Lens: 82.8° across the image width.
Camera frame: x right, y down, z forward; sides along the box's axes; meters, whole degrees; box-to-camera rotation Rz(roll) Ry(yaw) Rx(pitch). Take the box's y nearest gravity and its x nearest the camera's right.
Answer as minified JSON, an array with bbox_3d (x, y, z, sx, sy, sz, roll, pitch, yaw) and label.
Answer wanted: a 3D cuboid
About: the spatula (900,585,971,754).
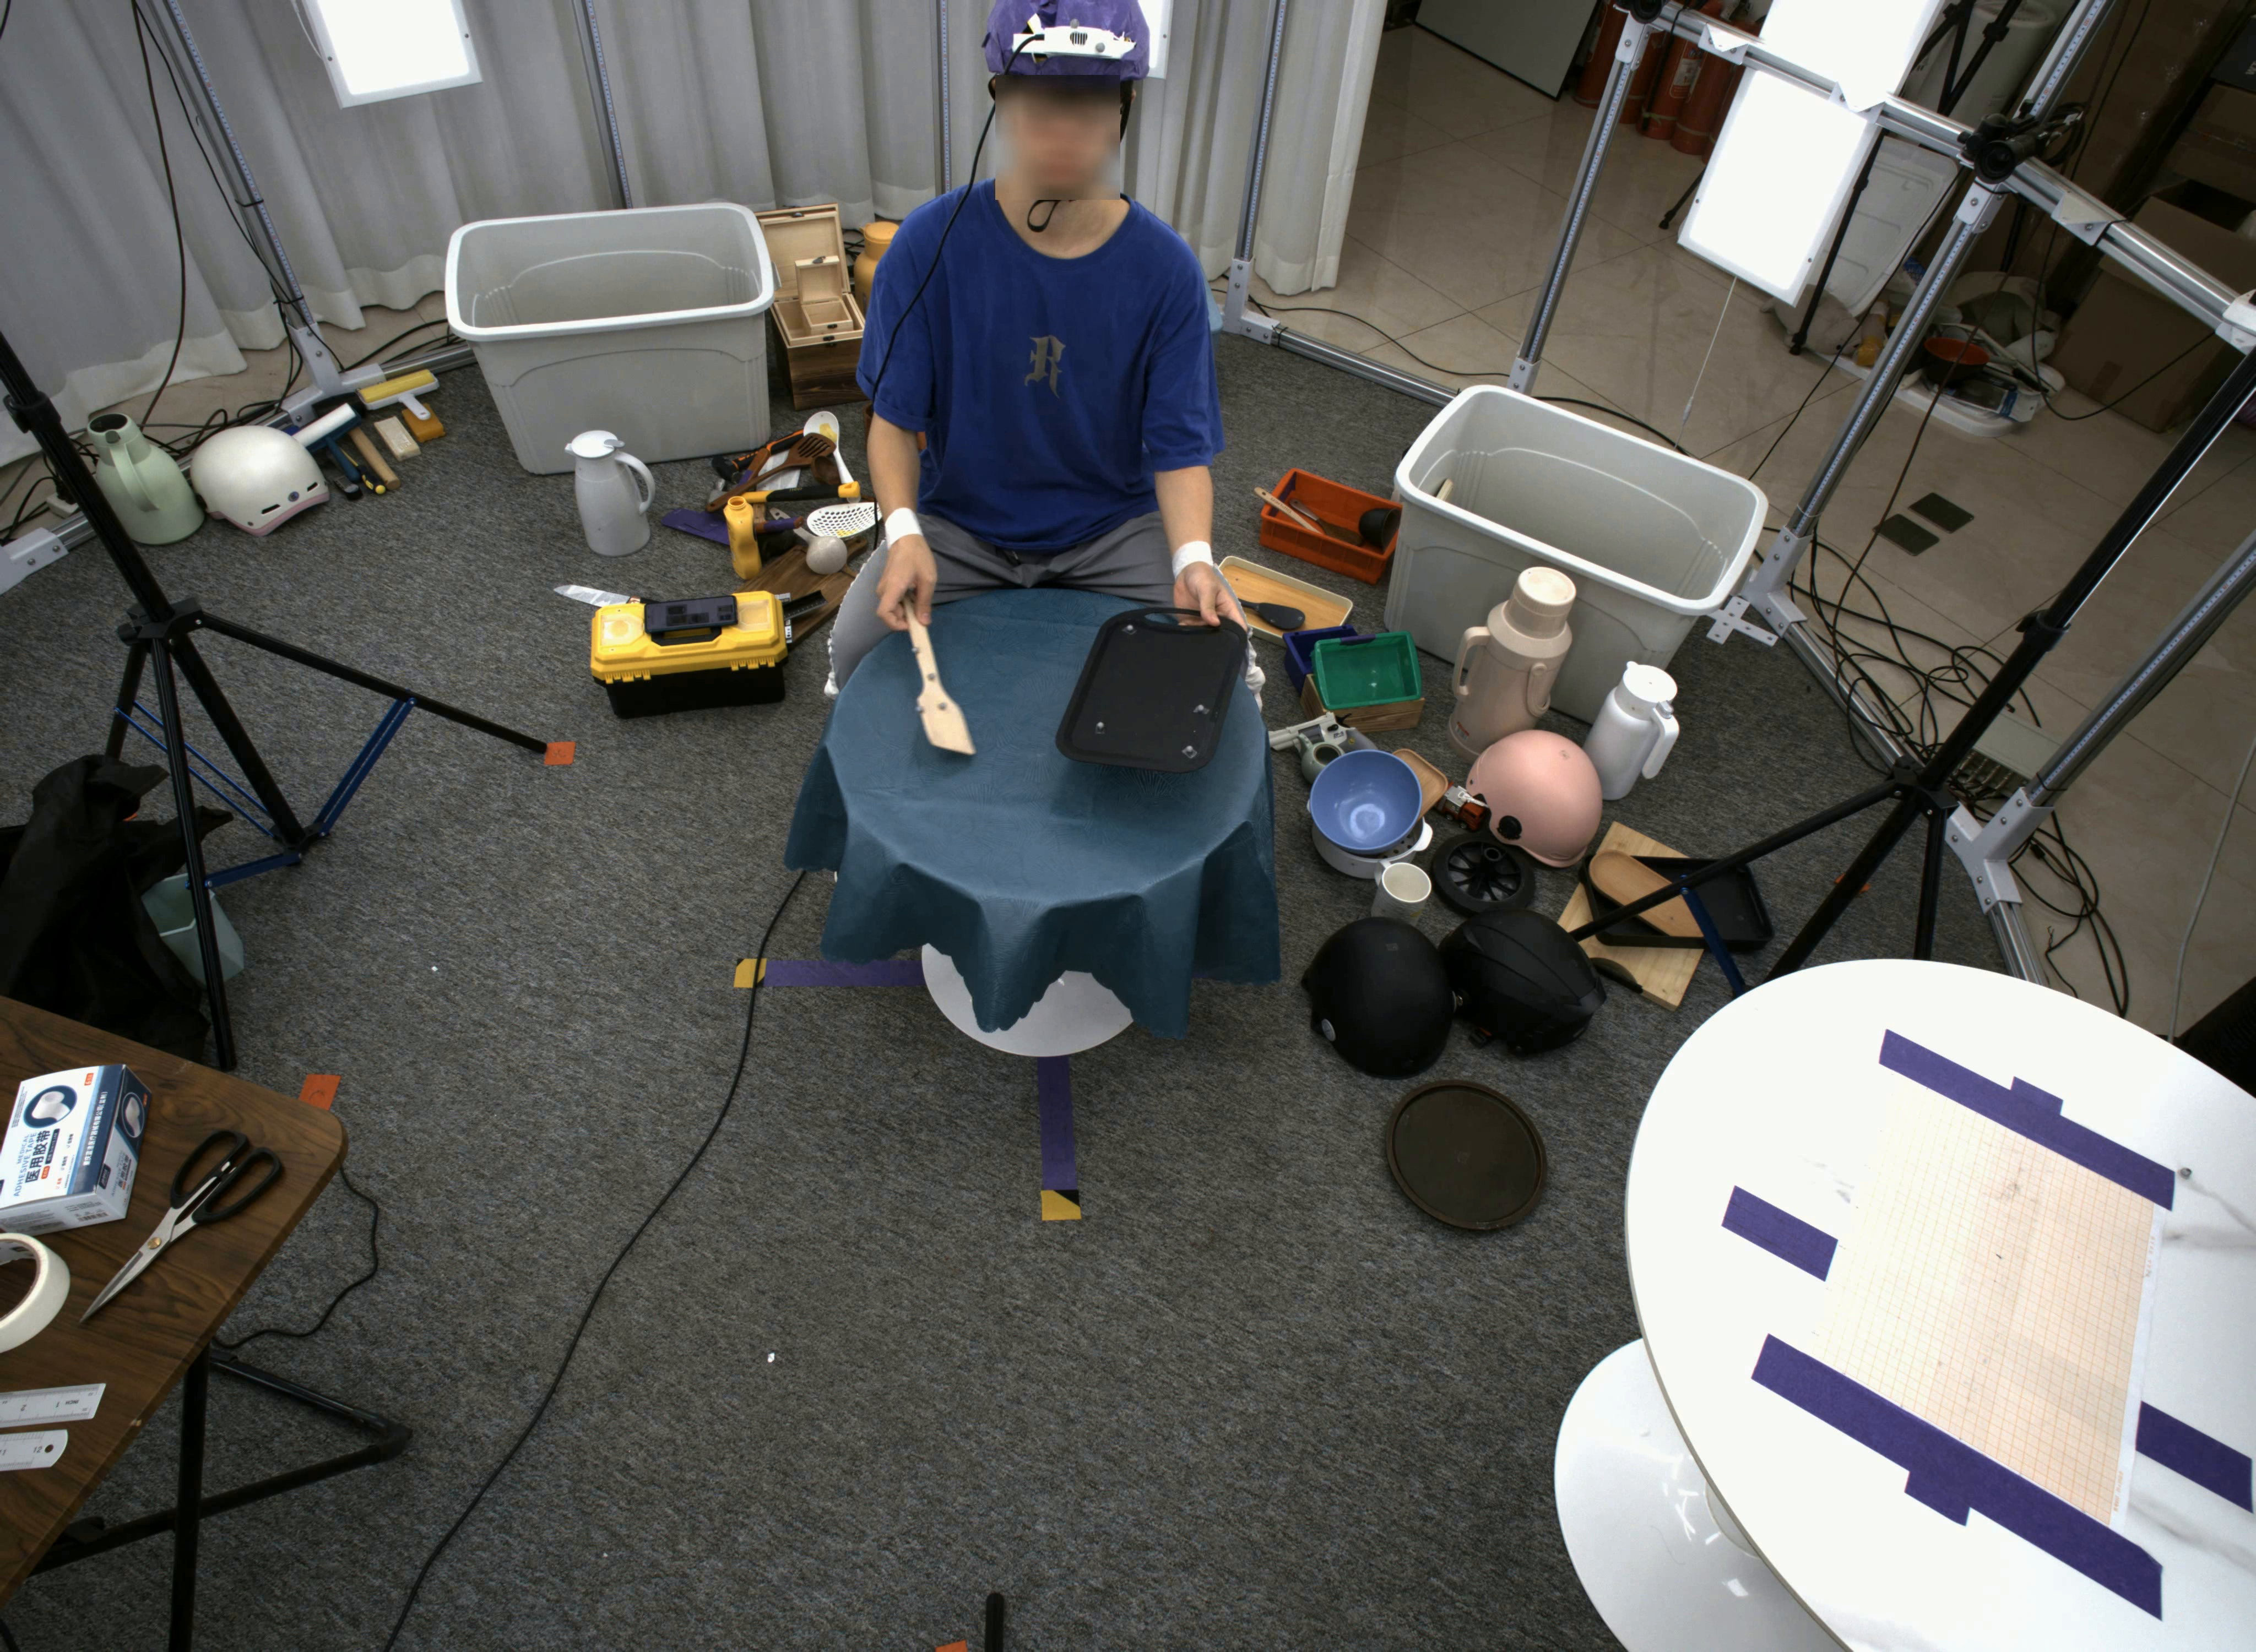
[{"bbox_3d":[-0.278,-0.222,1.785,0.071,0.010,0.299,12,48,-42],"label":"spatula"}]

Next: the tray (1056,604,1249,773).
[{"bbox_3d":[0.038,-0.195,1.718,0.212,0.009,0.332,8,49,14],"label":"tray"}]
